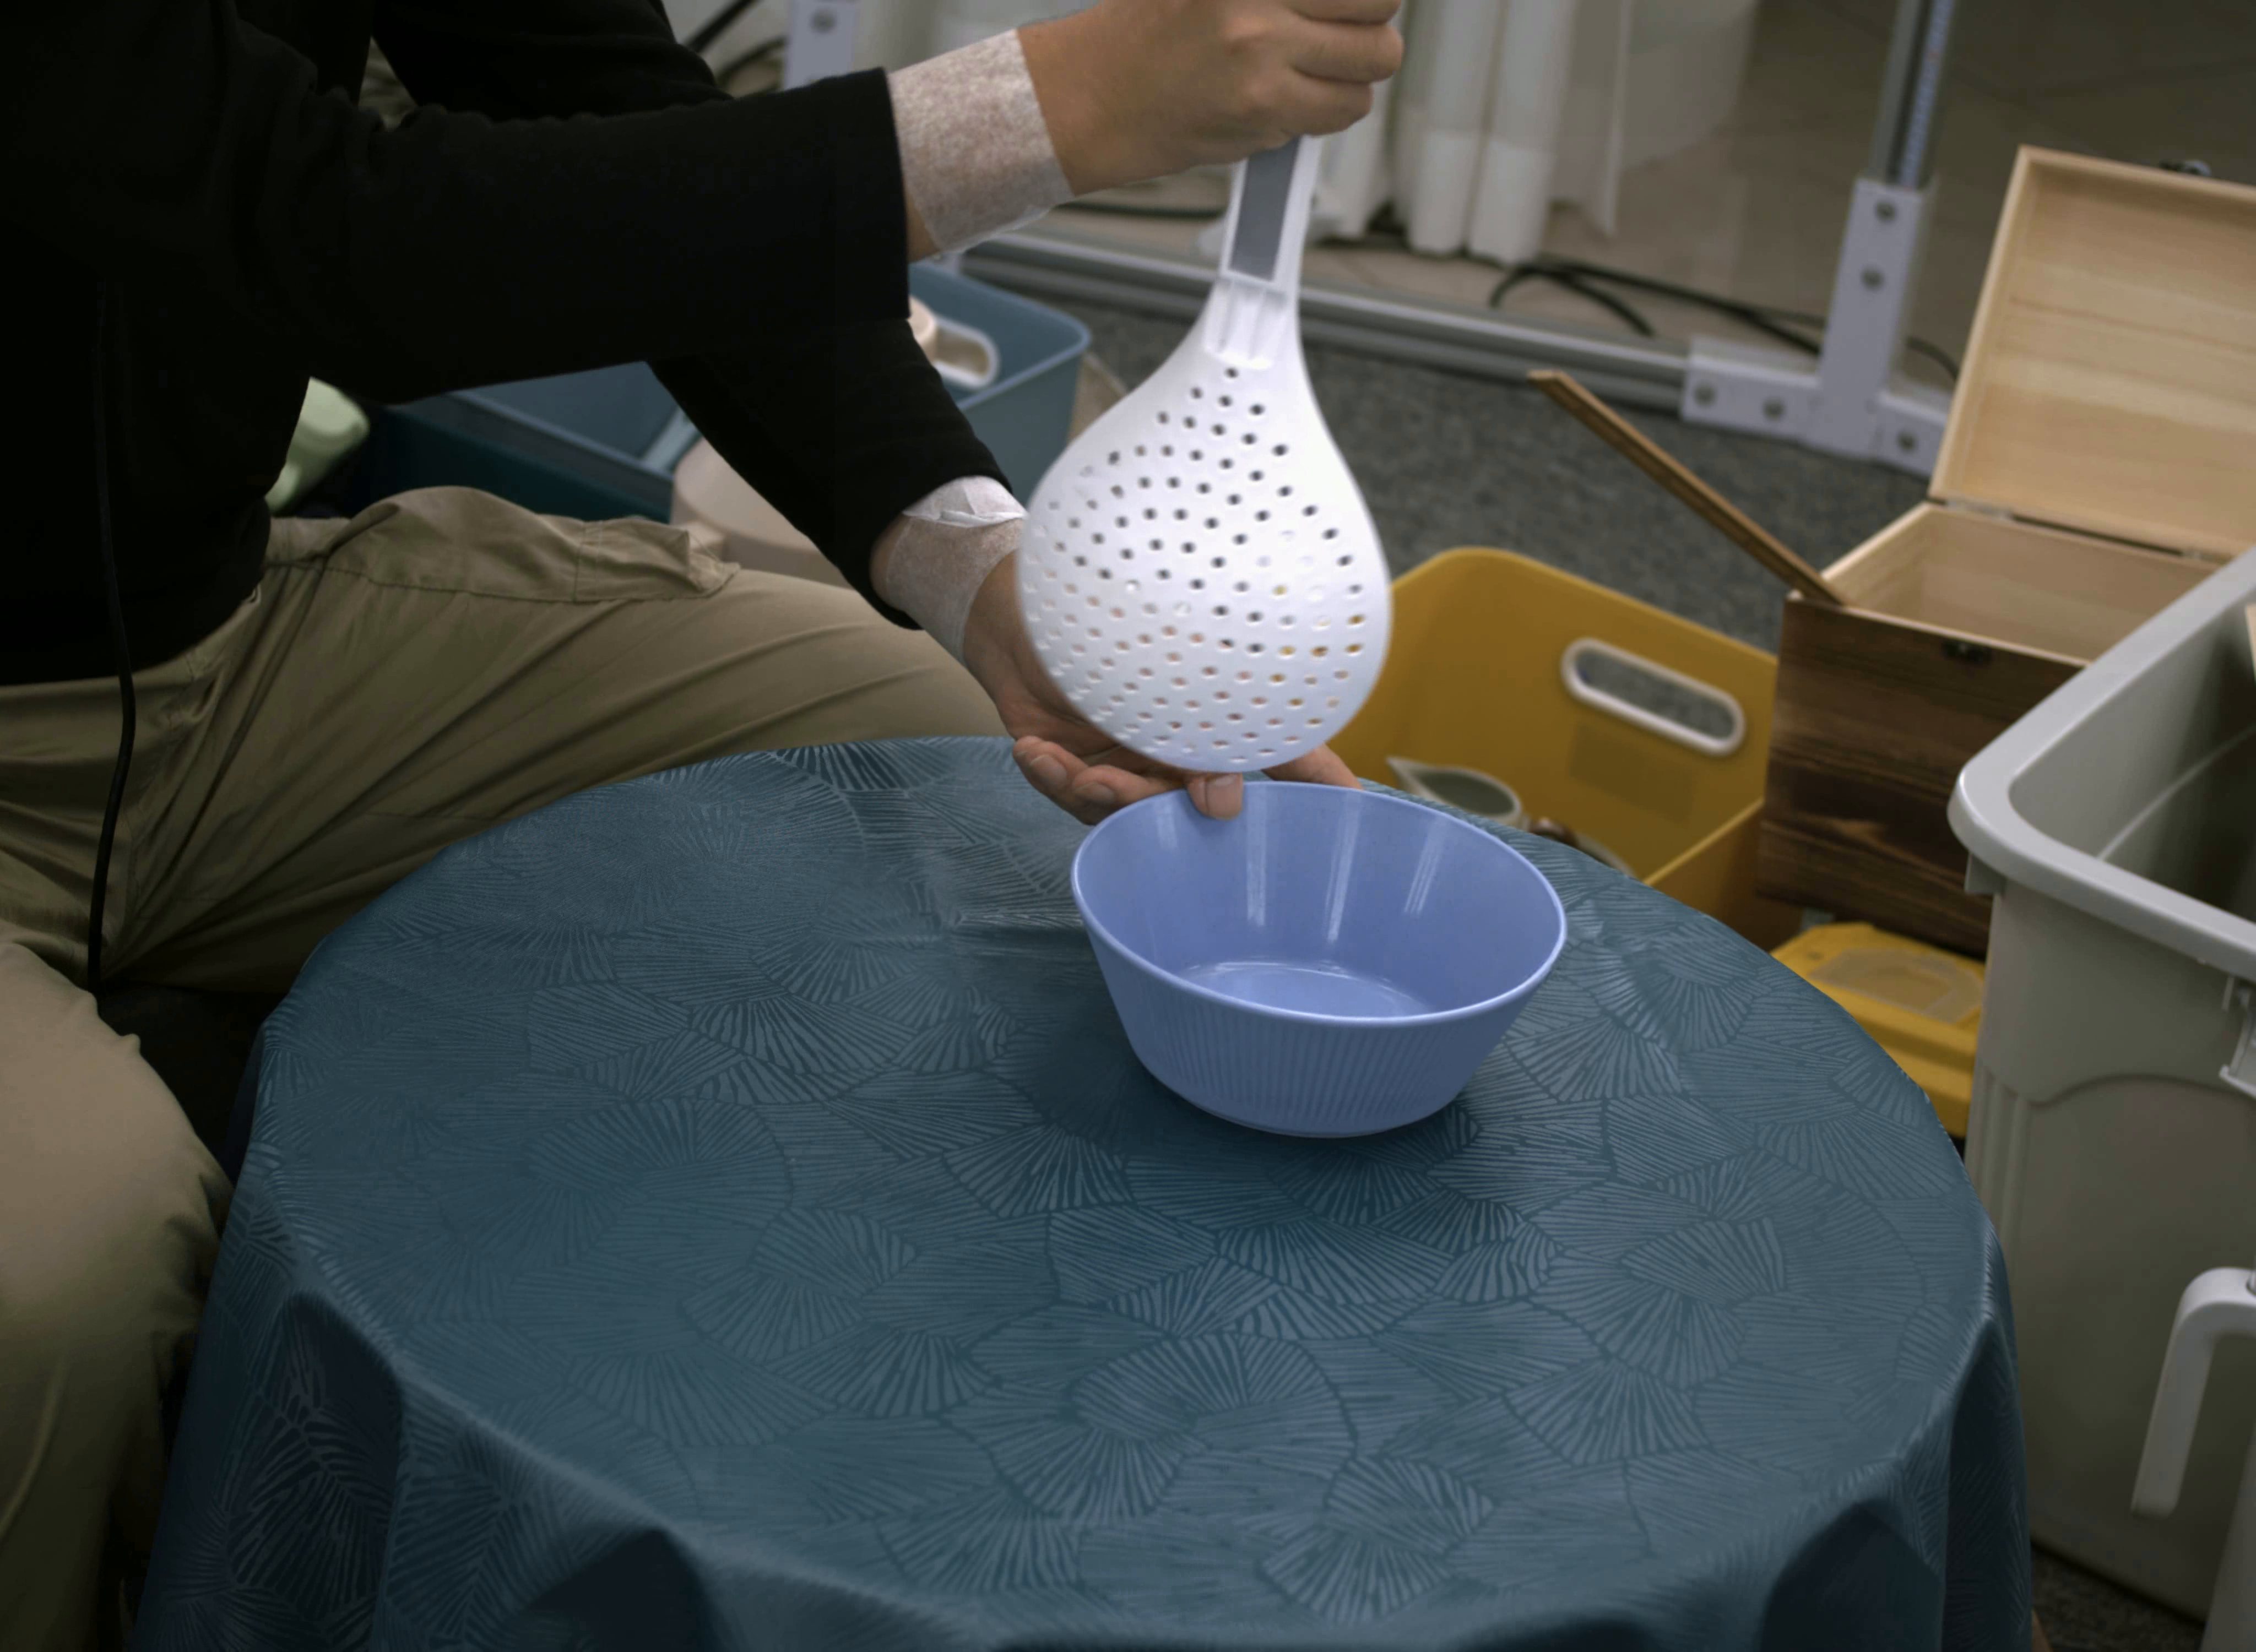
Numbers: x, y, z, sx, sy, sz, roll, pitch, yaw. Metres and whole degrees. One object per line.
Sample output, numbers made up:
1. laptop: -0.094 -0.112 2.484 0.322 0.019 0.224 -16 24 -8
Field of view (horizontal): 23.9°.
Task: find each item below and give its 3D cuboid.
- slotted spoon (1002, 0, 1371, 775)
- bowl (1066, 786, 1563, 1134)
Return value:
1. slotted spoon: 0.038 -0.174 1.805 0.136 0.349 0.046 18 22 12
2. bowl: 0.063 0.052 1.878 0.175 0.070 0.177 4 26 -2
